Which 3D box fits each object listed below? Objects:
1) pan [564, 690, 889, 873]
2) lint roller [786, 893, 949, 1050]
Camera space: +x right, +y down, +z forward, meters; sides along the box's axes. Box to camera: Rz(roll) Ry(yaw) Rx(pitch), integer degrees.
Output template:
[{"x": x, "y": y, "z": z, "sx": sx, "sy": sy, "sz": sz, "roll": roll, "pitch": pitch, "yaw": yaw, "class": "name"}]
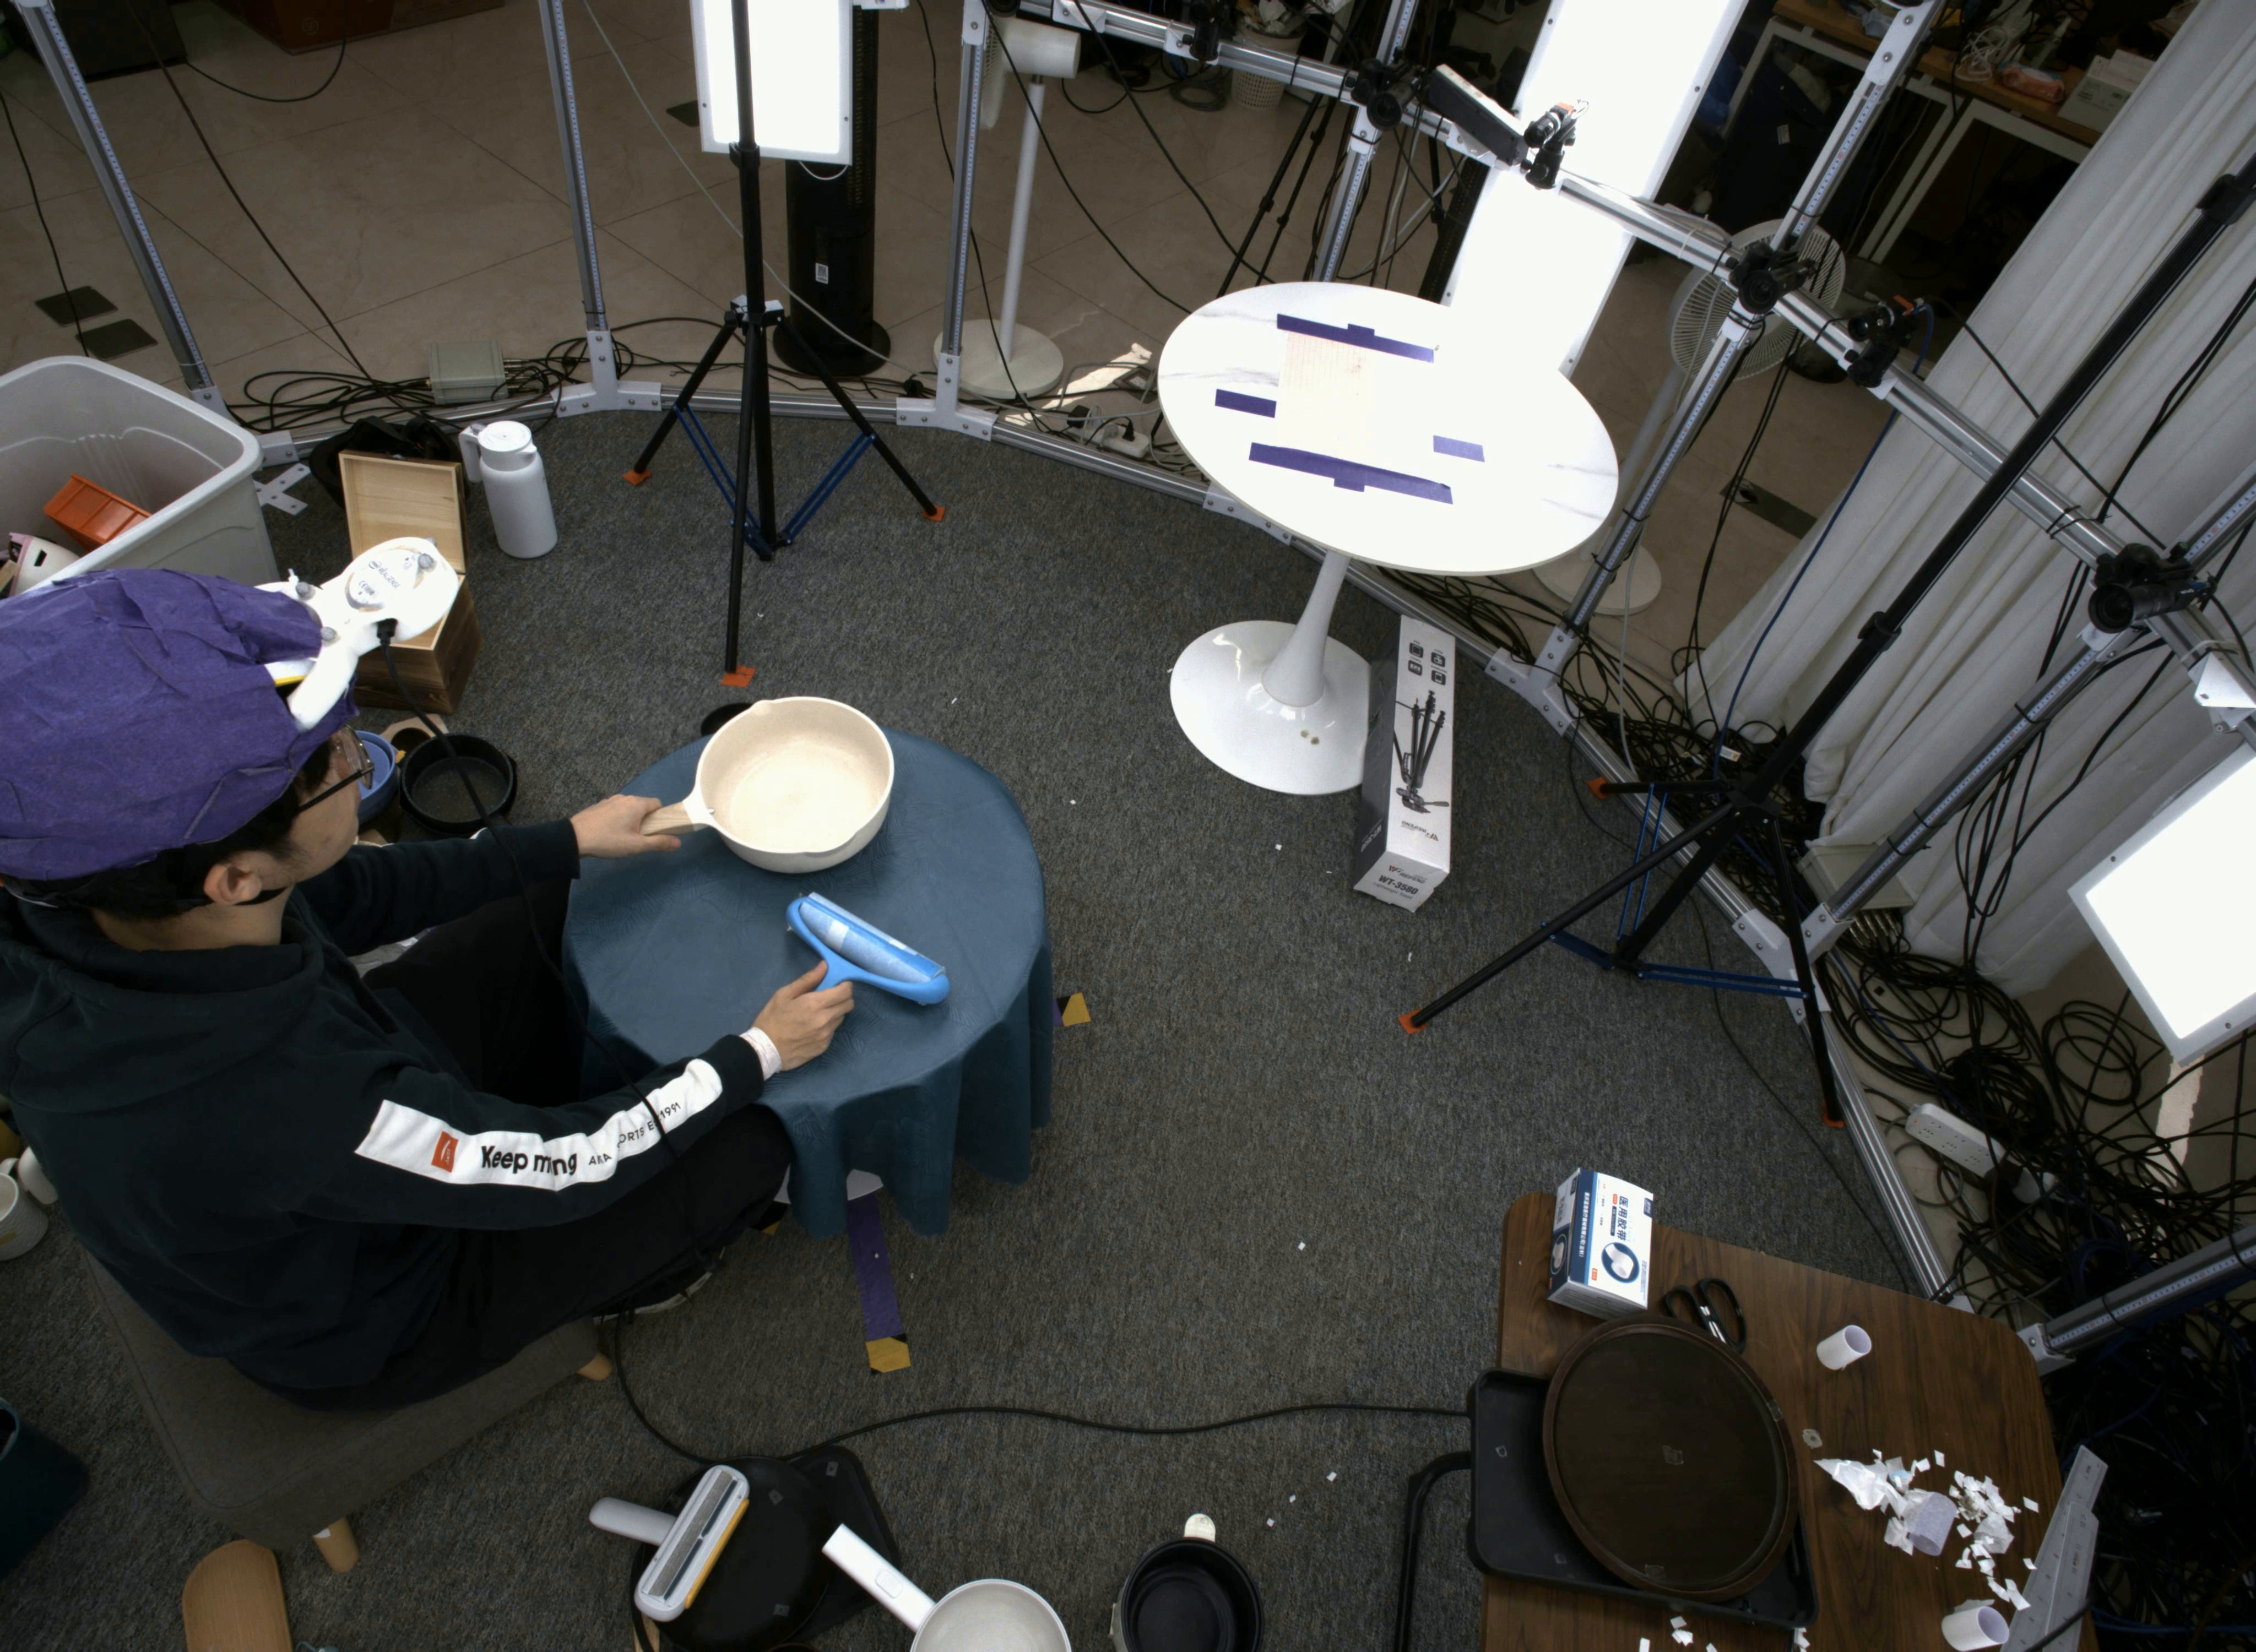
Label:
[{"x": -0.513, "y": -0.022, "z": 1.659, "sx": 0.435, "sy": 0.104, "sz": 0.257, "roll": -25, "pitch": 64, "yaw": -20, "class": "pan"}, {"x": -0.347, "y": 0.187, "z": 1.575, "sx": 0.226, "sy": 0.069, "sz": 0.179, "roll": 28, "pitch": 51, "yaw": 5, "class": "lint roller"}]
